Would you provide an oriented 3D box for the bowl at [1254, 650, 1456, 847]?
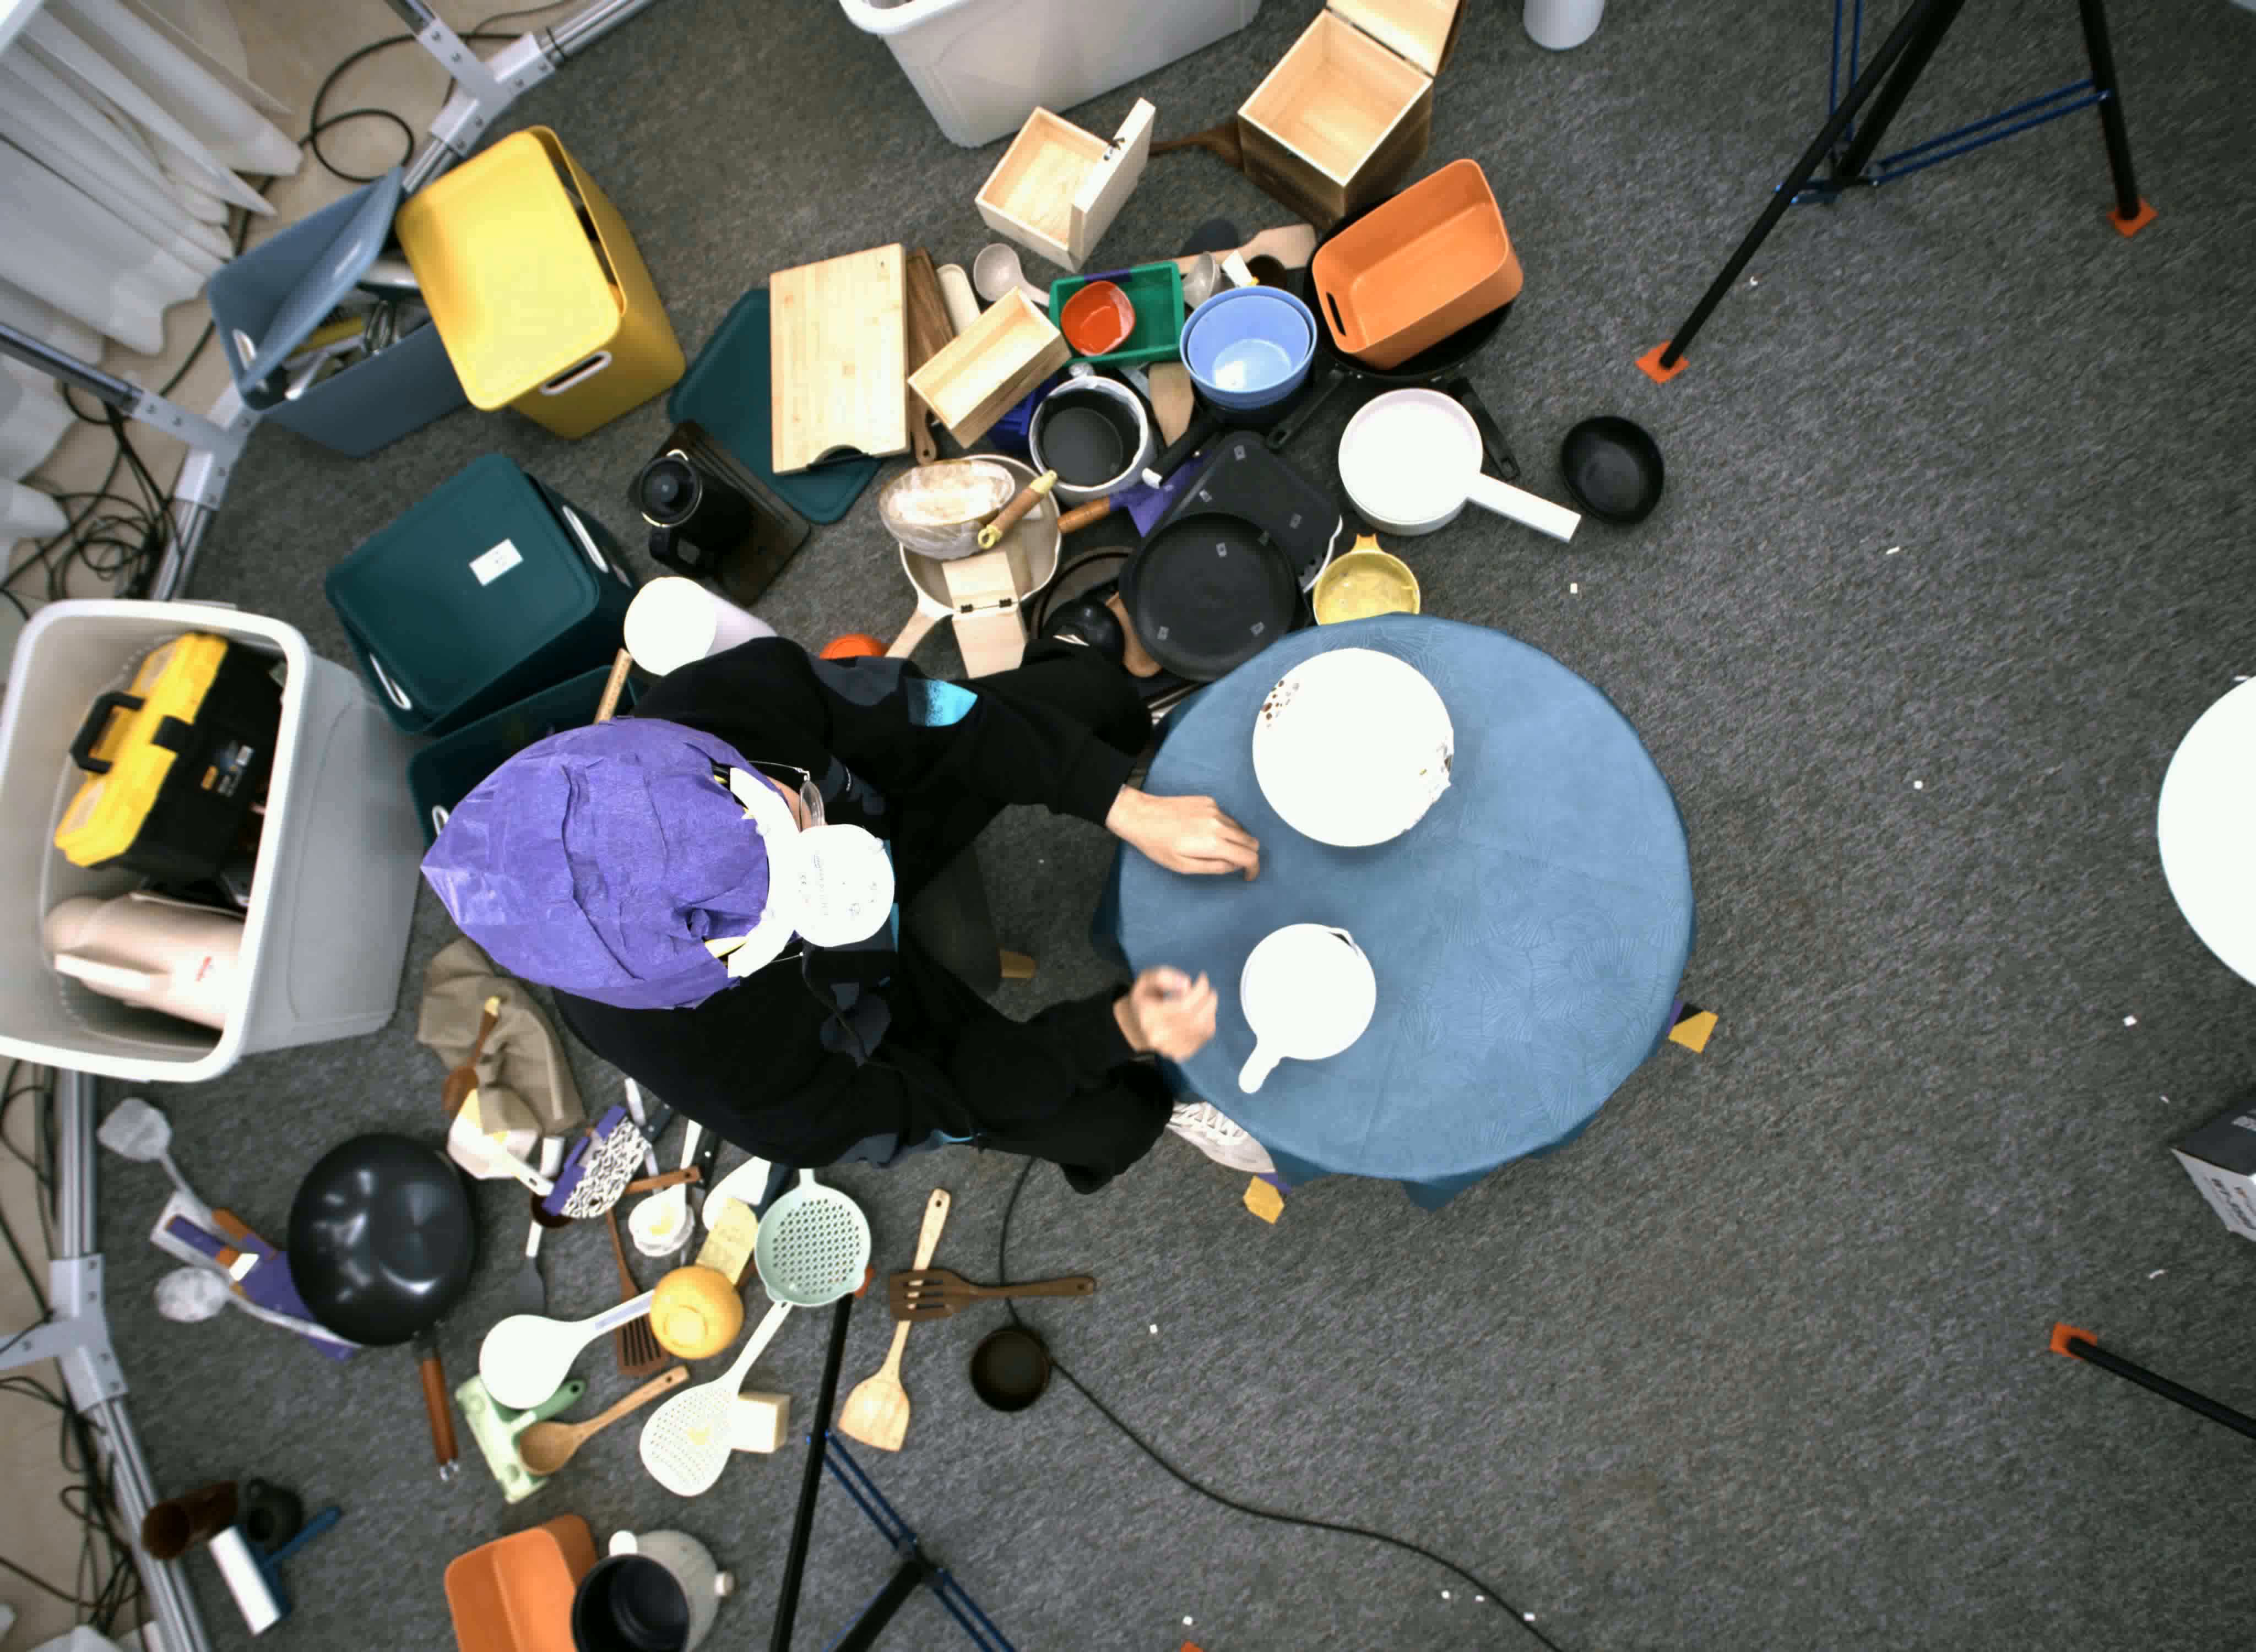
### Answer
[{"bbox_3d":[0.236,-0.077,1.431,0.205,0.078,0.203,-1,86,13],"label":"bowl"}]

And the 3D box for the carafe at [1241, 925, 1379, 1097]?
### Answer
[{"bbox_3d":[0.170,0.185,1.382,0.132,0.182,0.192,31,94,12],"label":"carafe"}]
